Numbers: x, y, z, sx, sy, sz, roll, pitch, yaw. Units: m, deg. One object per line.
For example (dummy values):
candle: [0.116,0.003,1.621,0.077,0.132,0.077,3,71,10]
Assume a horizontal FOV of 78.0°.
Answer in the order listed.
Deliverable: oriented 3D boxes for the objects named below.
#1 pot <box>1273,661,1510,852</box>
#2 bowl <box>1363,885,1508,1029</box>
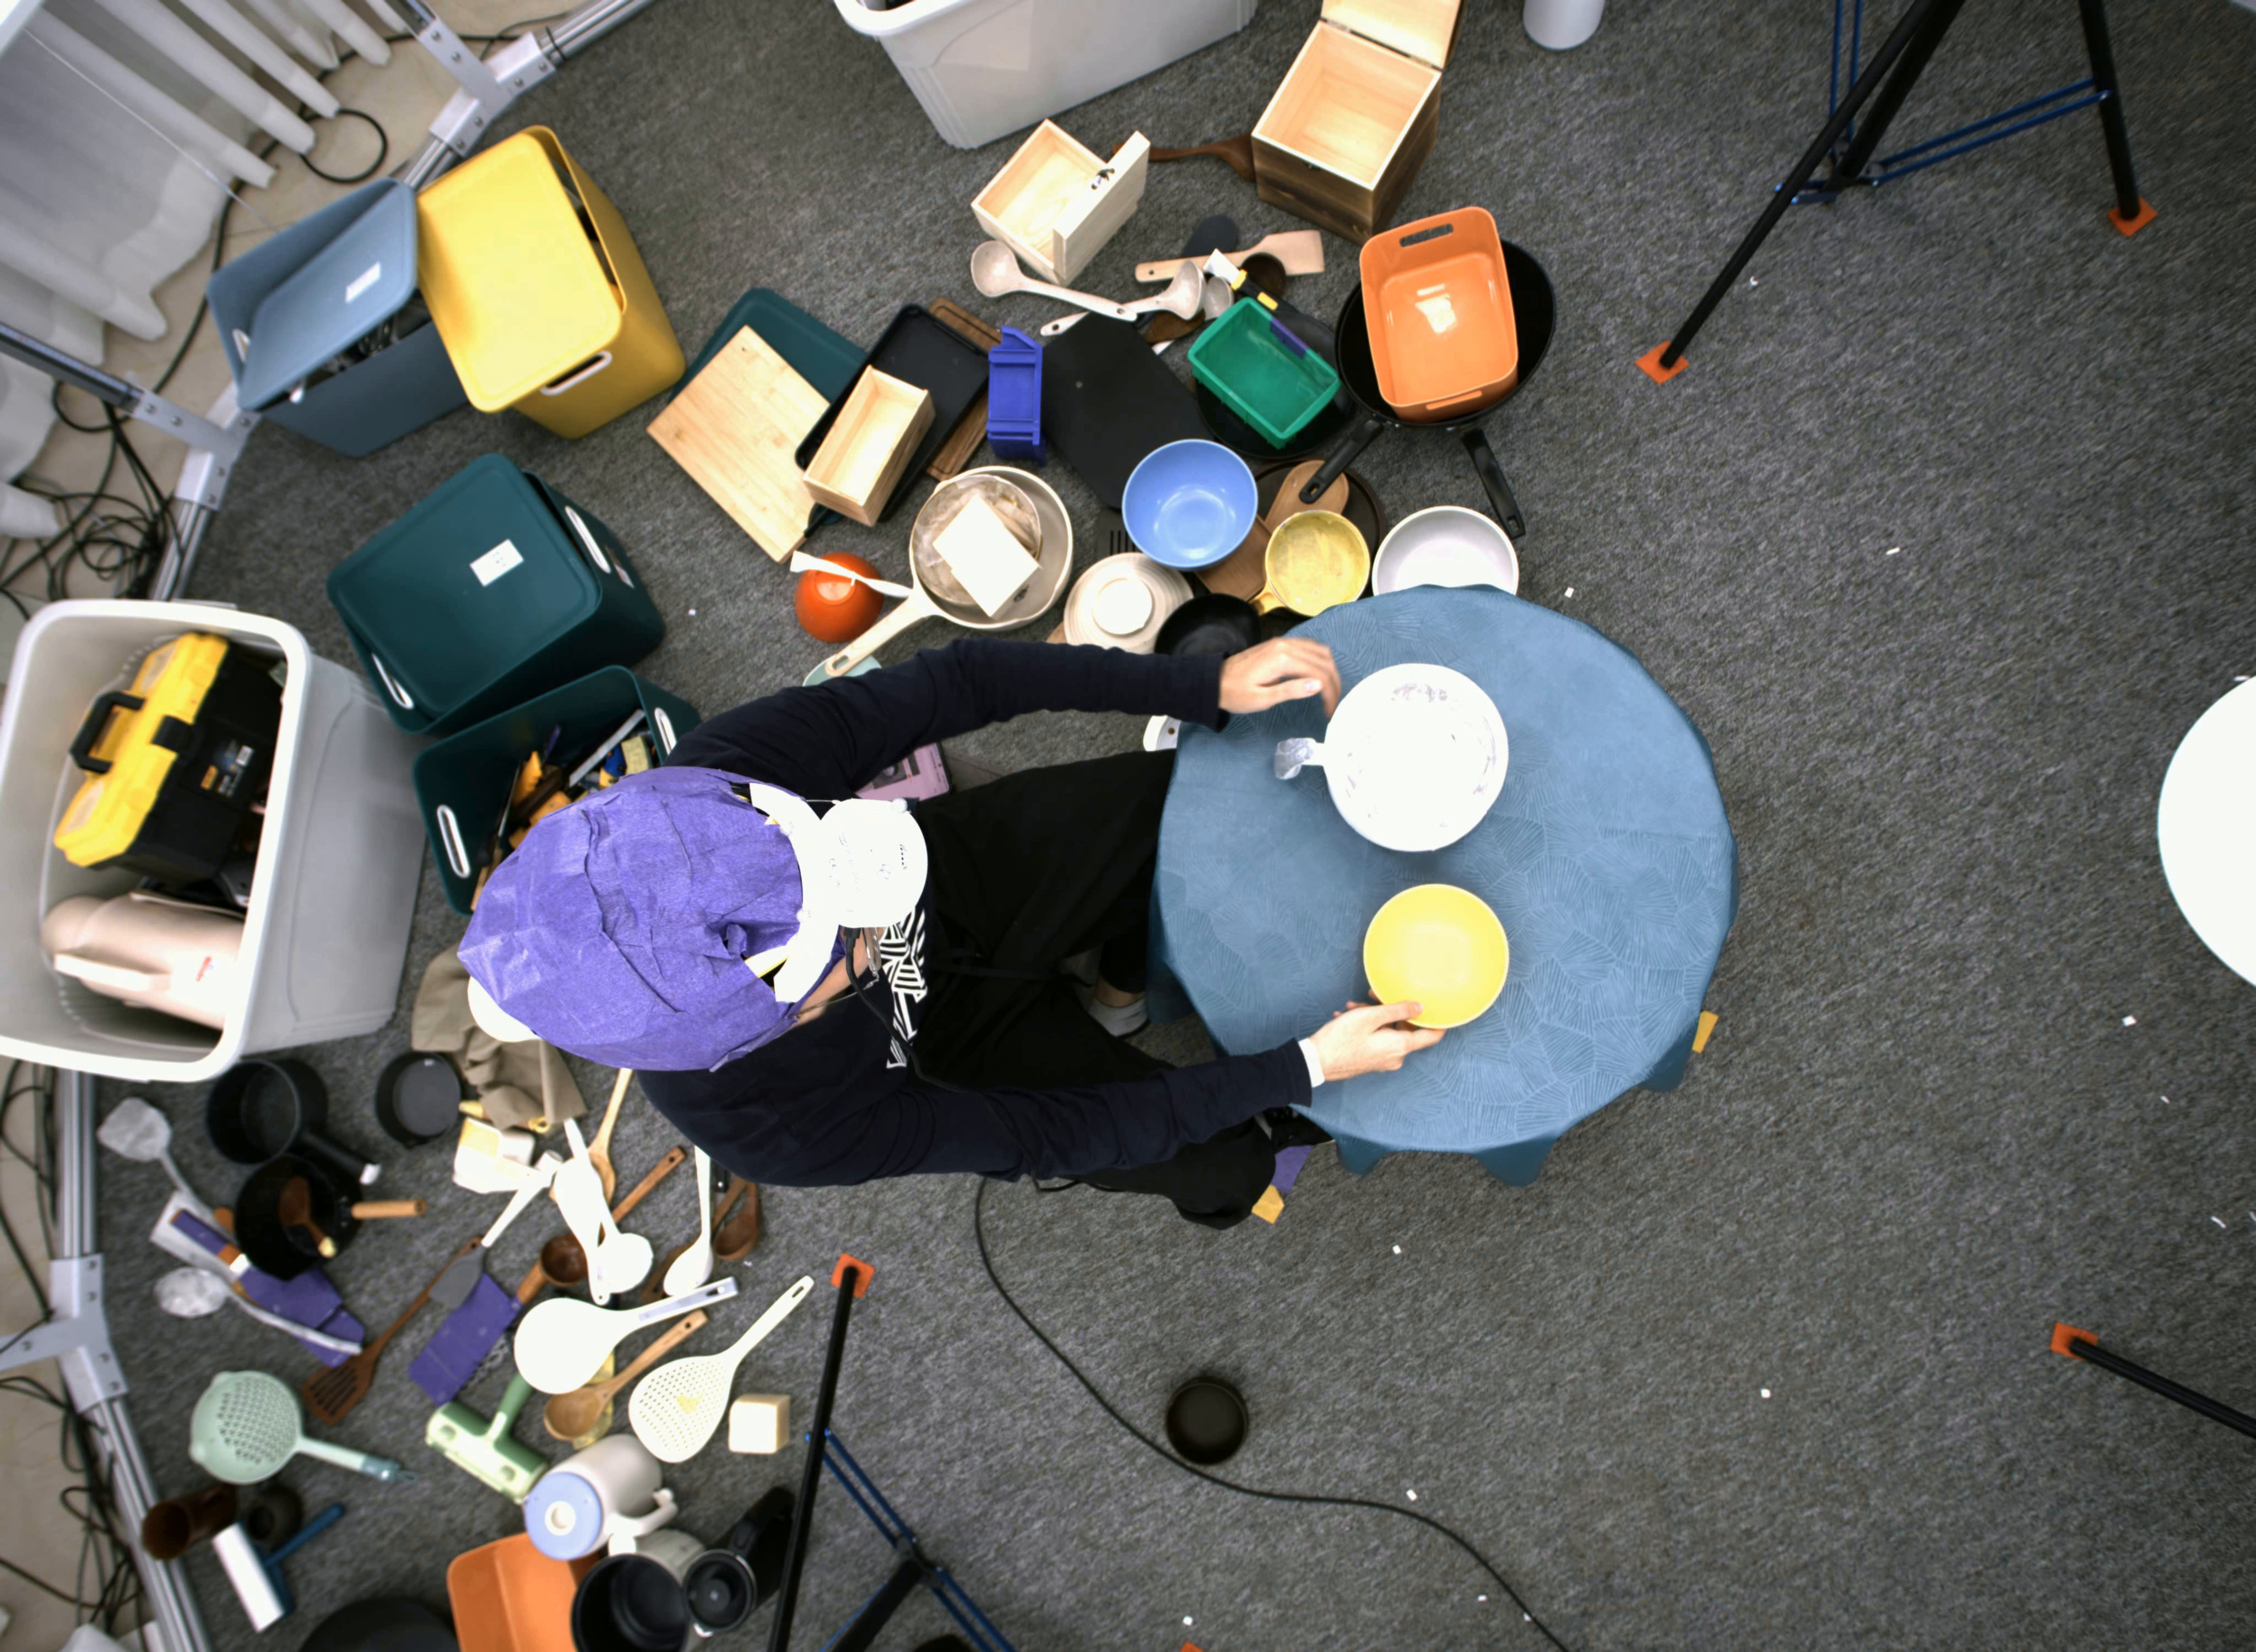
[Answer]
pot: [0.262,-0.067,1.399,0.234,0.137,0.177,2,83,10]
bowl: [0.314,0.134,1.417,0.146,0.060,0.144,-1,85,10]
